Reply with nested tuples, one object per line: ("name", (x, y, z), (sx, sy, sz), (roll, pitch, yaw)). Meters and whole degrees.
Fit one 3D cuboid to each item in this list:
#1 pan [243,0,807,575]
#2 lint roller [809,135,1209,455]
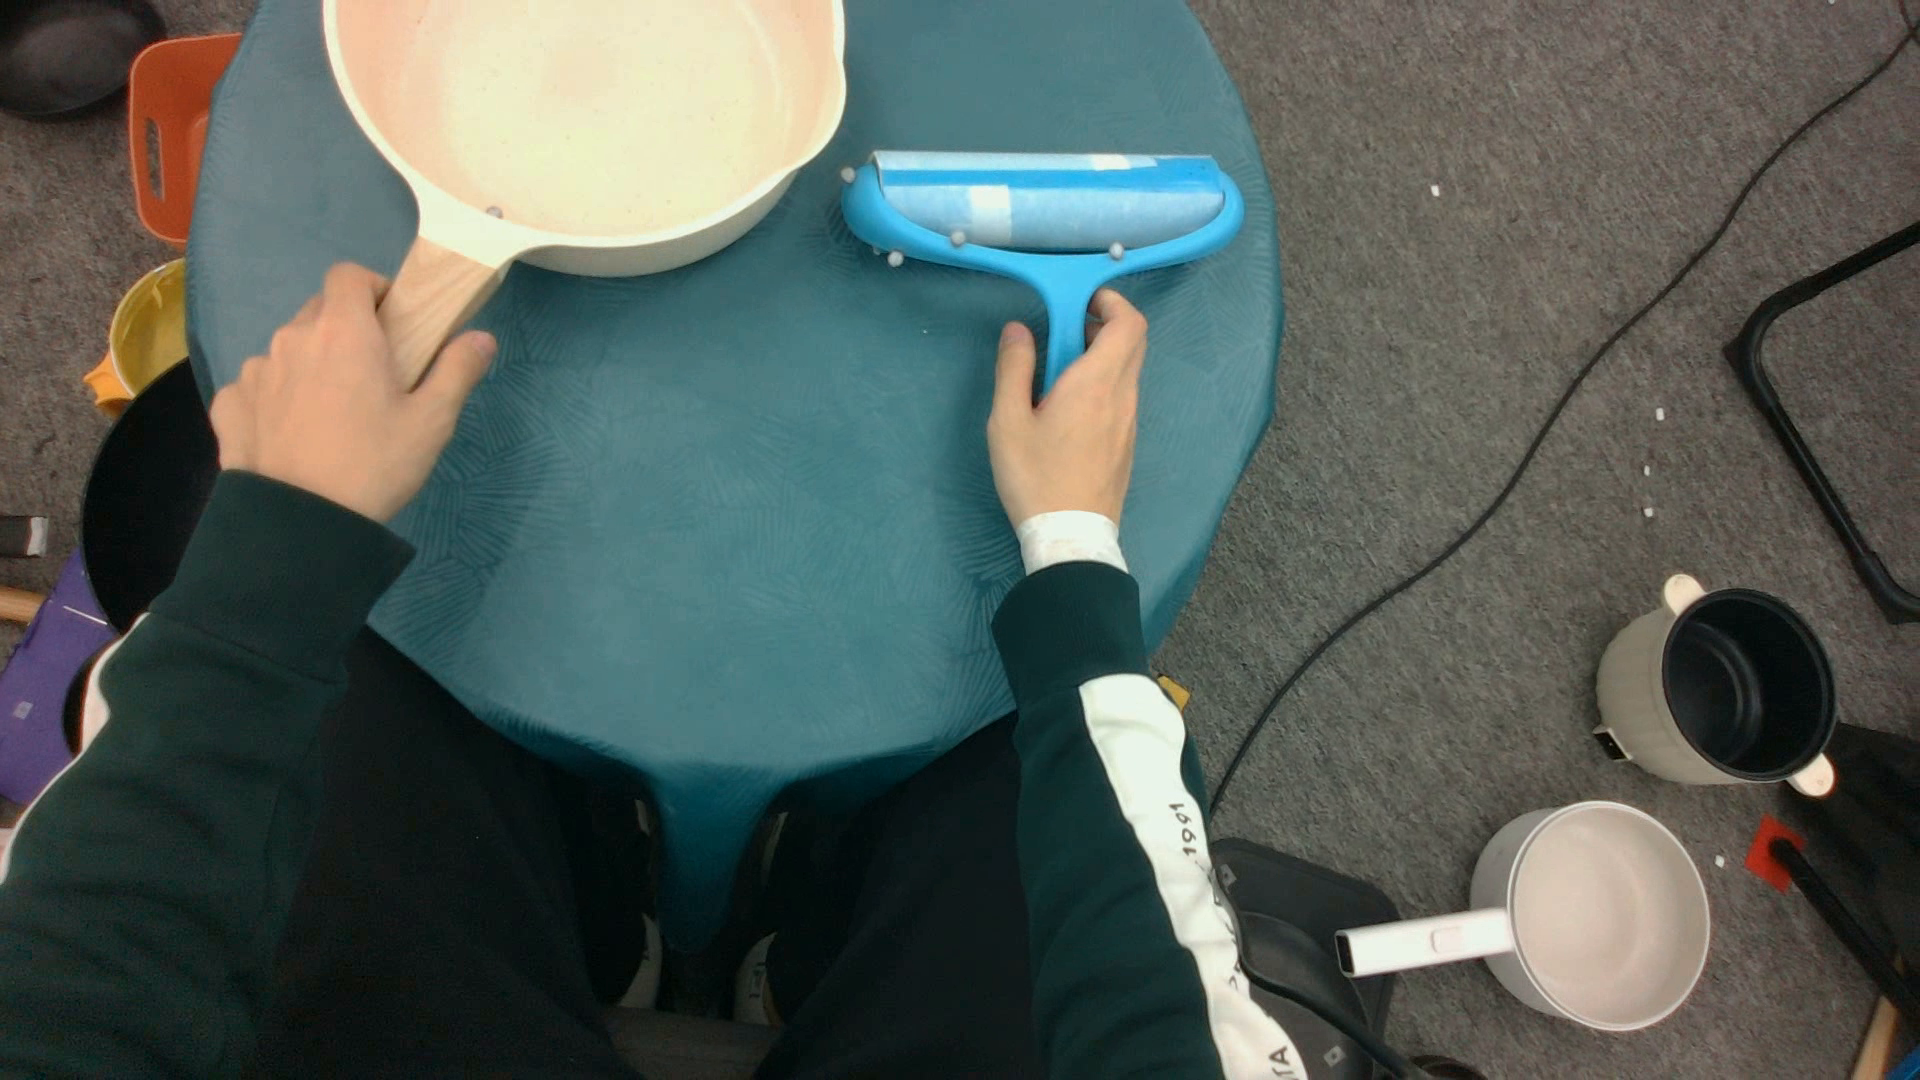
("pan", (-0.240, -0.177, 0.694), (0.263, 0.101, 0.436), (22, 74, -7))
("lint roller", (0.039, -0.142, 0.764), (0.229, 0.067, 0.180), (-6, 77, -14))
